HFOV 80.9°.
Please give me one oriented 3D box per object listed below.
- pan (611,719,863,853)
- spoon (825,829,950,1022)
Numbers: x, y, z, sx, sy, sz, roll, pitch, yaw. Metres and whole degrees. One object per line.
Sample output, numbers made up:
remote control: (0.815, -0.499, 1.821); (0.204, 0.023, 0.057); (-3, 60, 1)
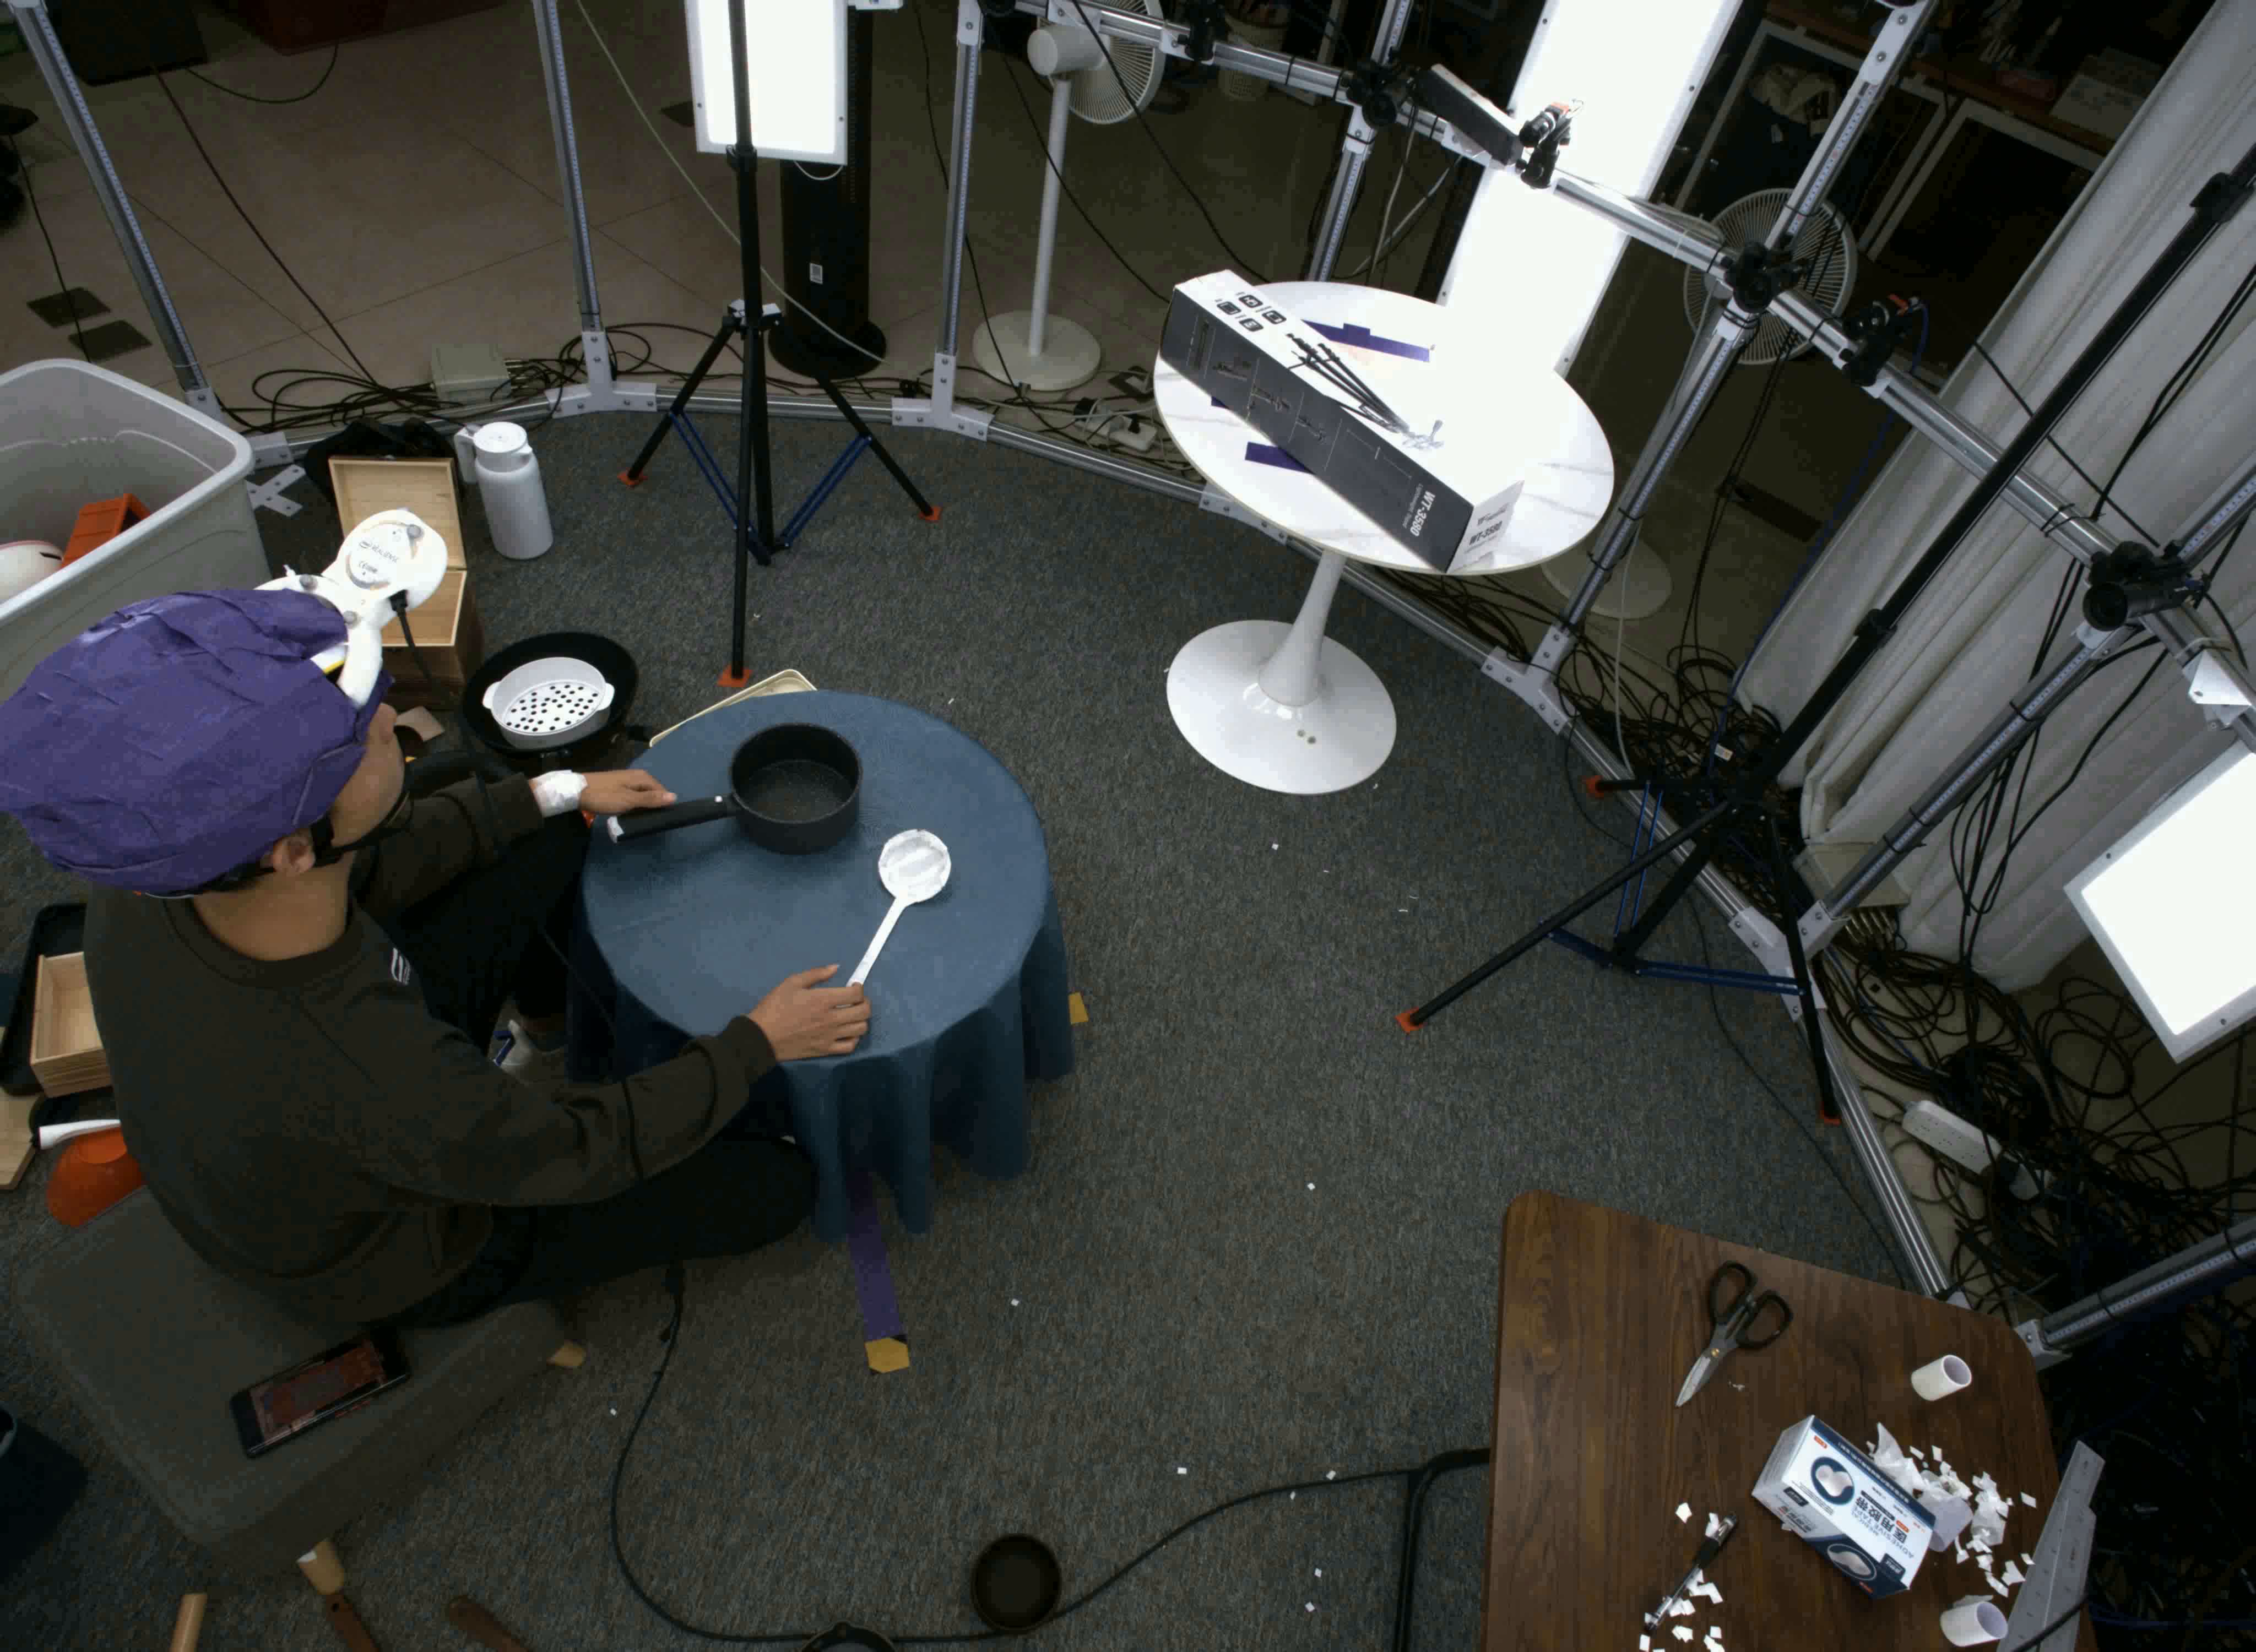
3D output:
pan: (-0.505, -0.030, 1.683); (0.330, 0.088, 0.167); (-18, 59, -26)
spoon: (-0.316, 0.119, 1.637); (0.099, 0.061, 0.275); (22, 52, 6)
